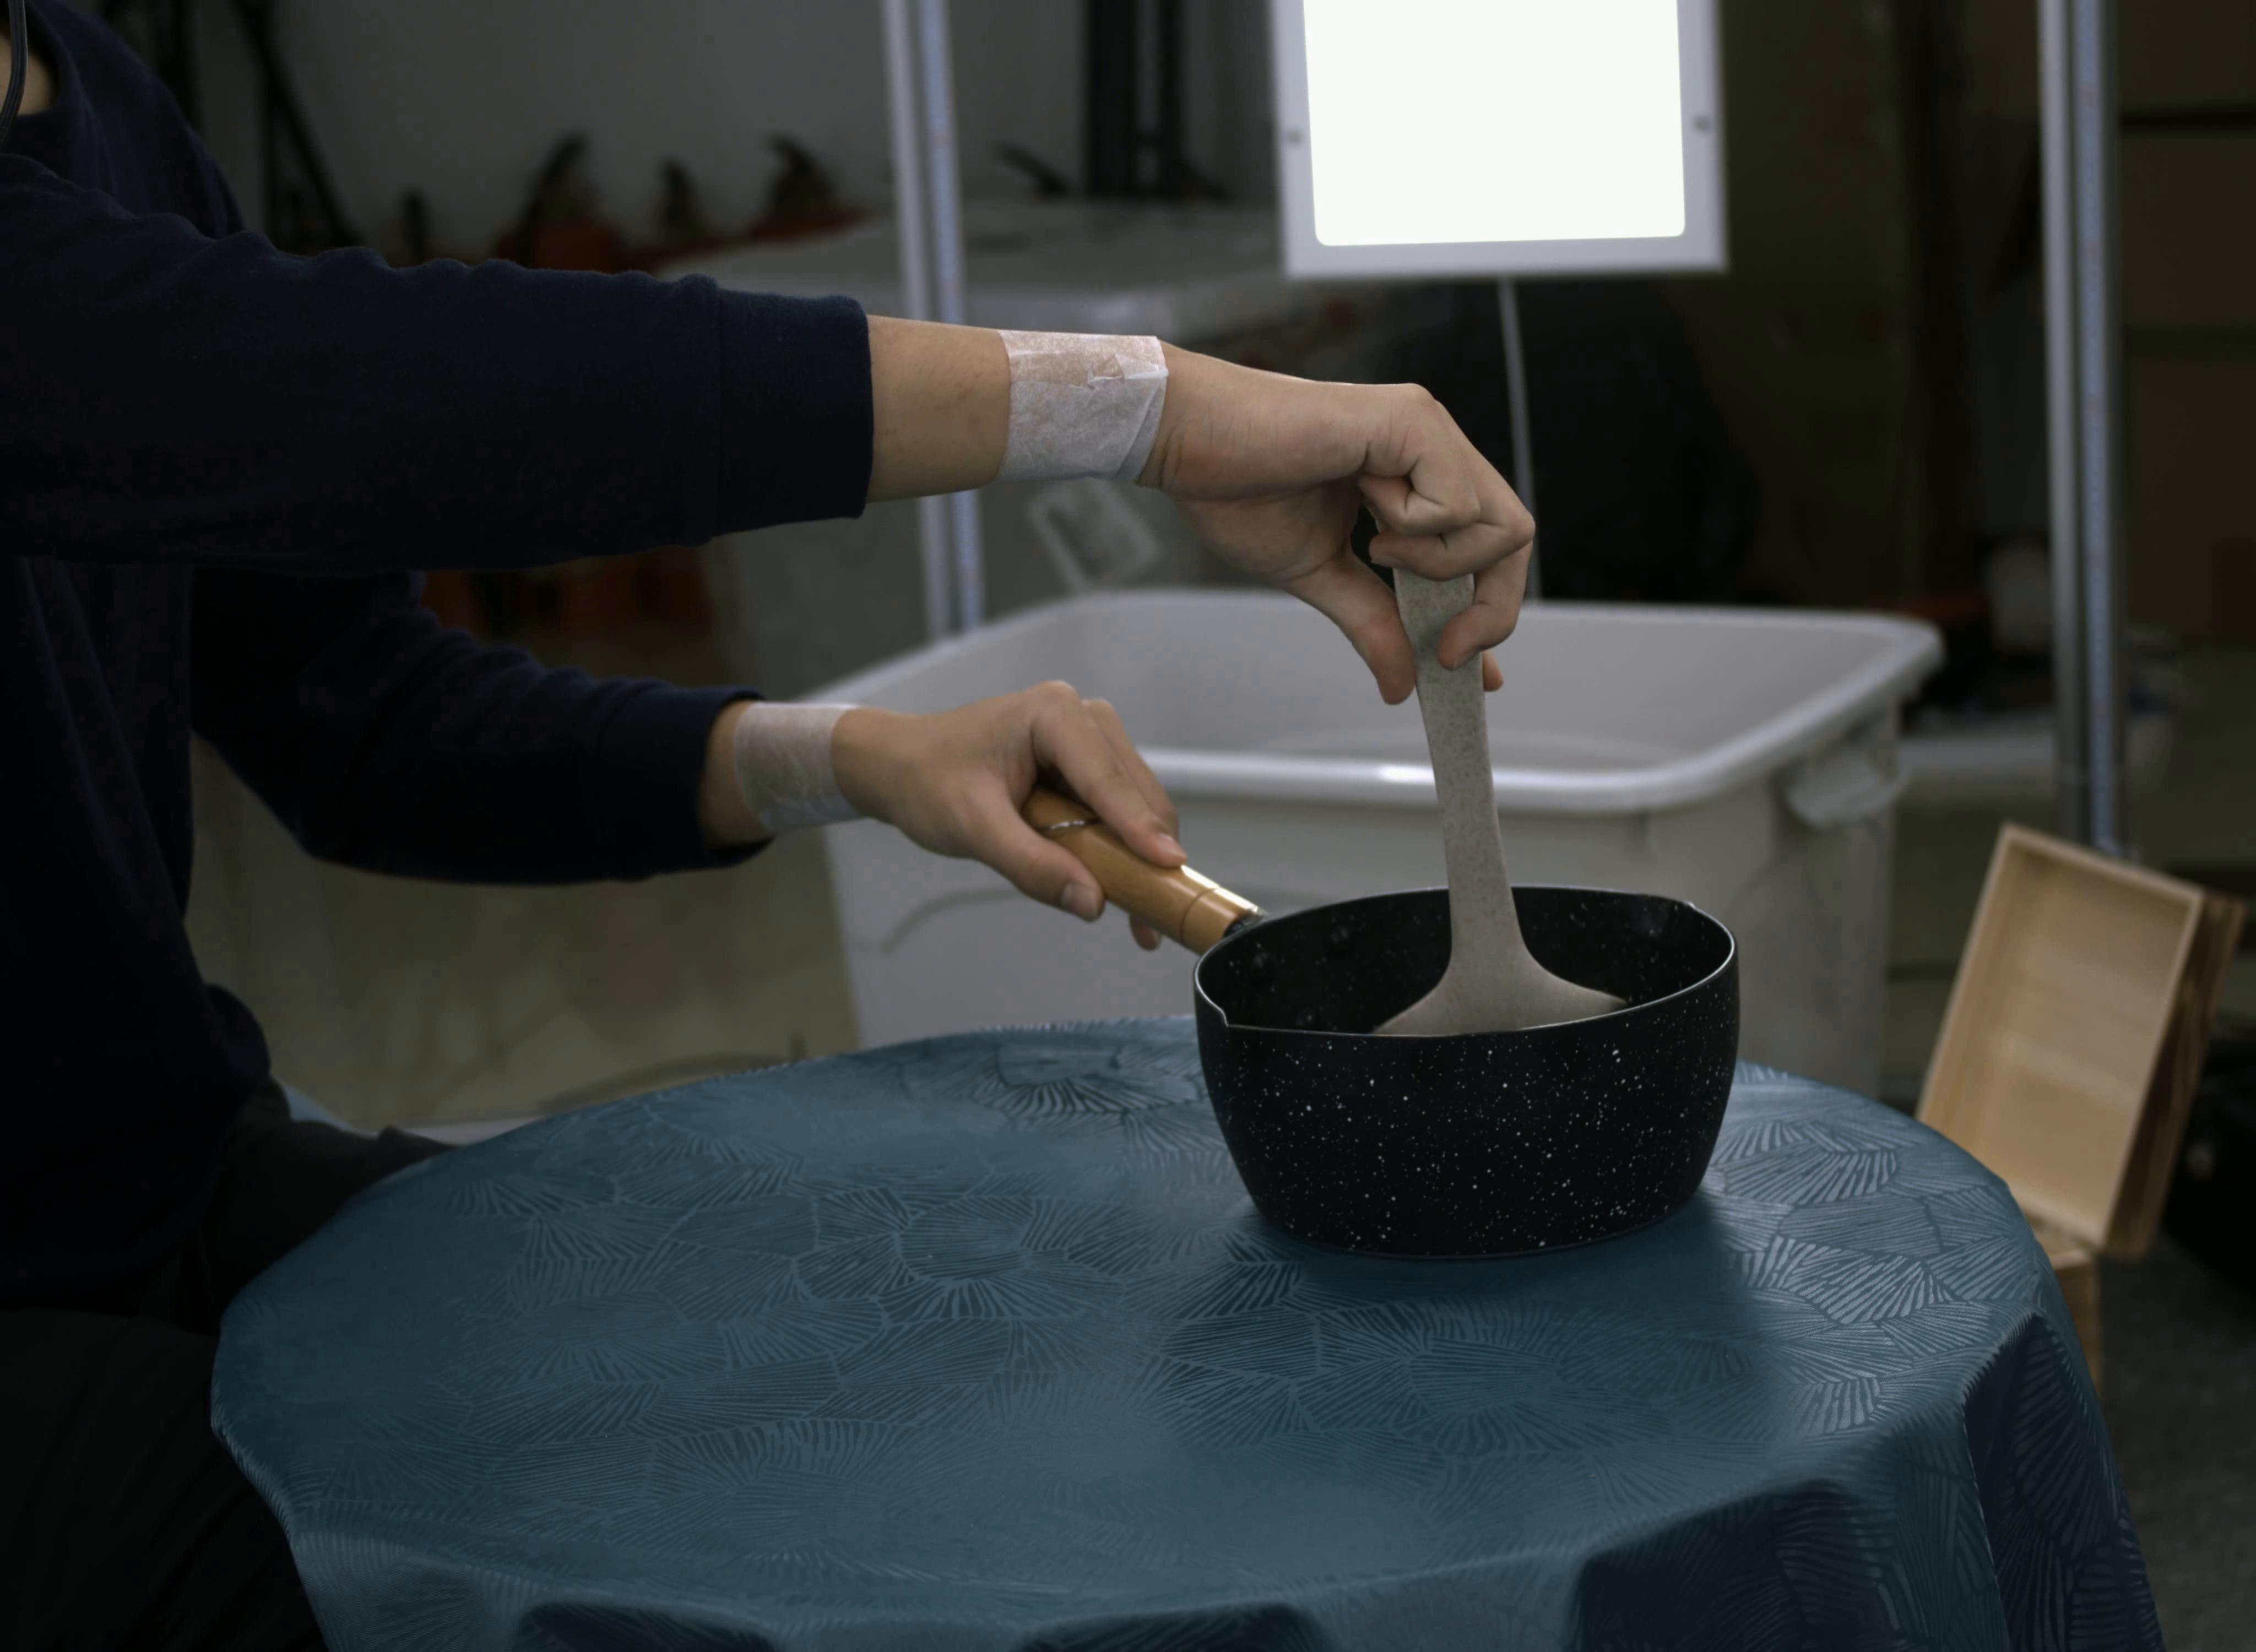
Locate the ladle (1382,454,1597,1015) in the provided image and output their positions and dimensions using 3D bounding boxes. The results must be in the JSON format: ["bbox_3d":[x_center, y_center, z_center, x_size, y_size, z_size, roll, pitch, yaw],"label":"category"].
[{"bbox_3d":[0.111,-0.020,1.818,0.090,0.275,0.069,-5,33,9],"label":"ladle"}]

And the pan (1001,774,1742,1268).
[{"bbox_3d":[0.066,0.061,1.912,0.202,0.108,0.350,-16,19,-35],"label":"pan"}]
